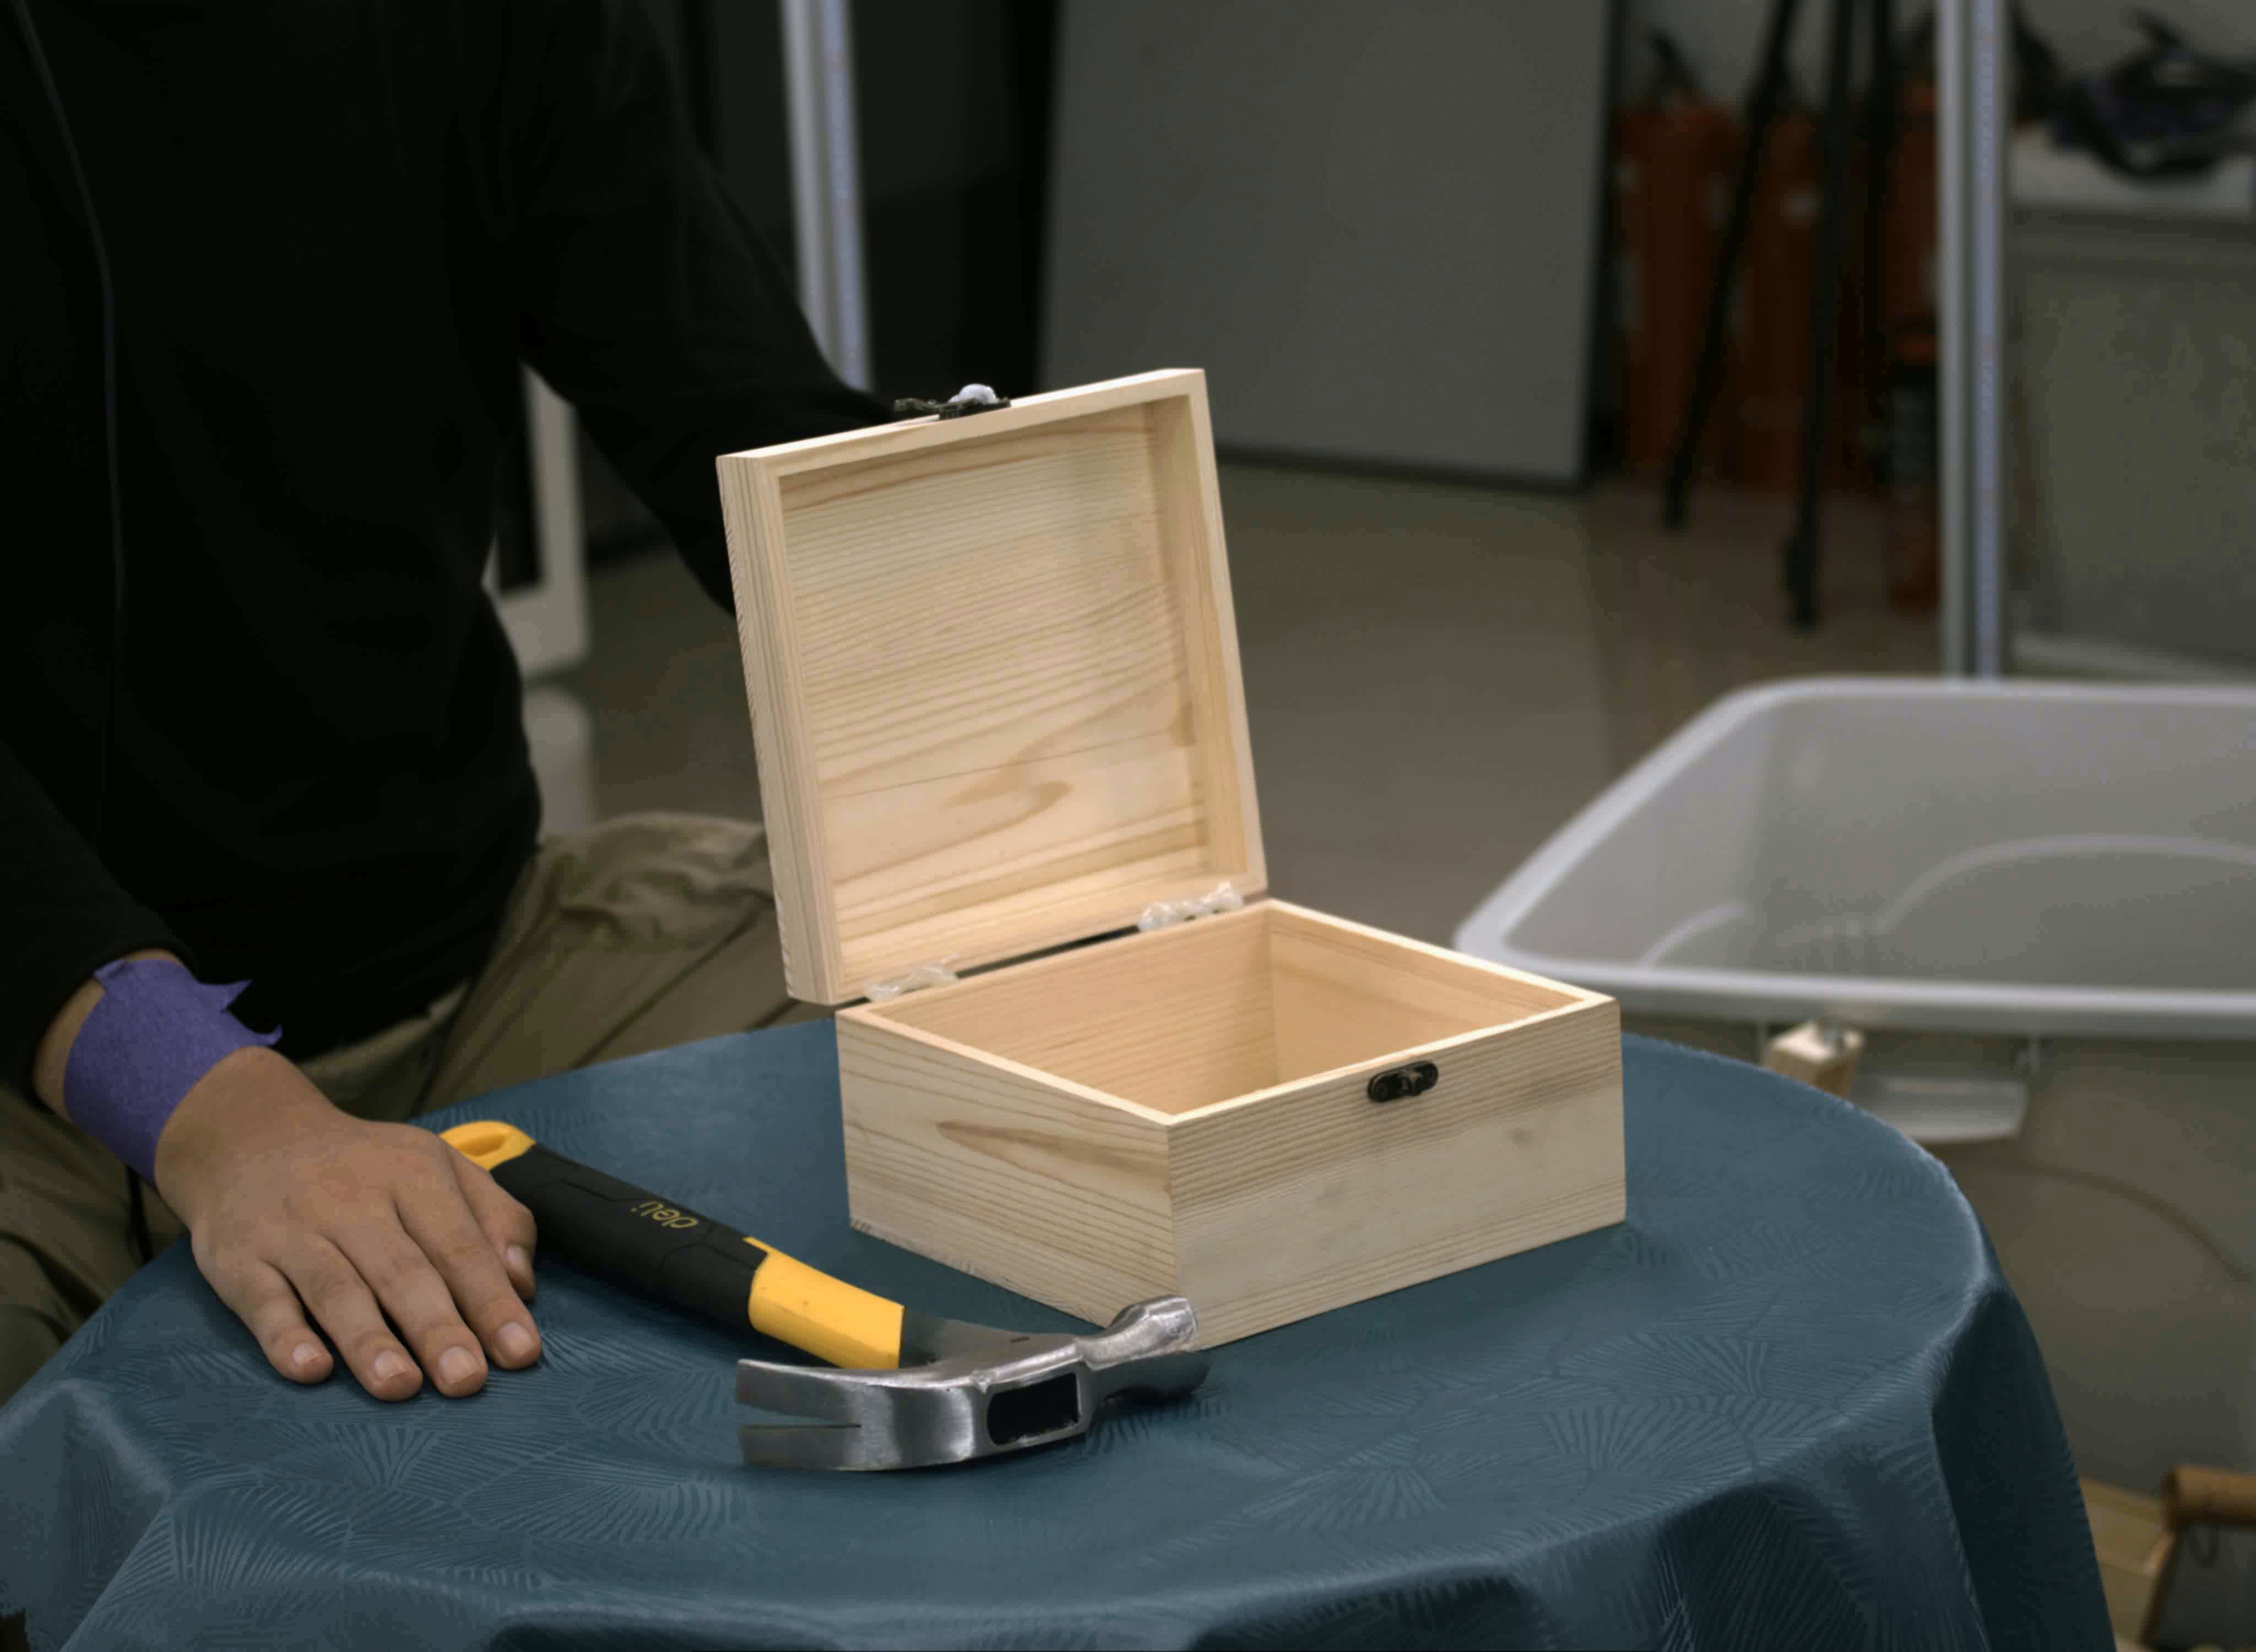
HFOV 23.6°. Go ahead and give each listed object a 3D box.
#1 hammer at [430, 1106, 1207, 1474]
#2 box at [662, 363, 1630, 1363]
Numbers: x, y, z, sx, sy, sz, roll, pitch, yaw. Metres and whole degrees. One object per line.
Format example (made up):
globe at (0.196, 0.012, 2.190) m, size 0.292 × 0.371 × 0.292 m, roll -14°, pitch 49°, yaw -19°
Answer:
hammer at (-0.123, 0.136, 1.674) m, size 0.128 × 0.032 × 0.342 m, roll -13°, pitch 18°, yaw -32°
box at (0.006, 0.002, 1.731) m, size 0.178 × 0.256 × 0.268 m, roll -15°, pitch 18°, yaw -34°
